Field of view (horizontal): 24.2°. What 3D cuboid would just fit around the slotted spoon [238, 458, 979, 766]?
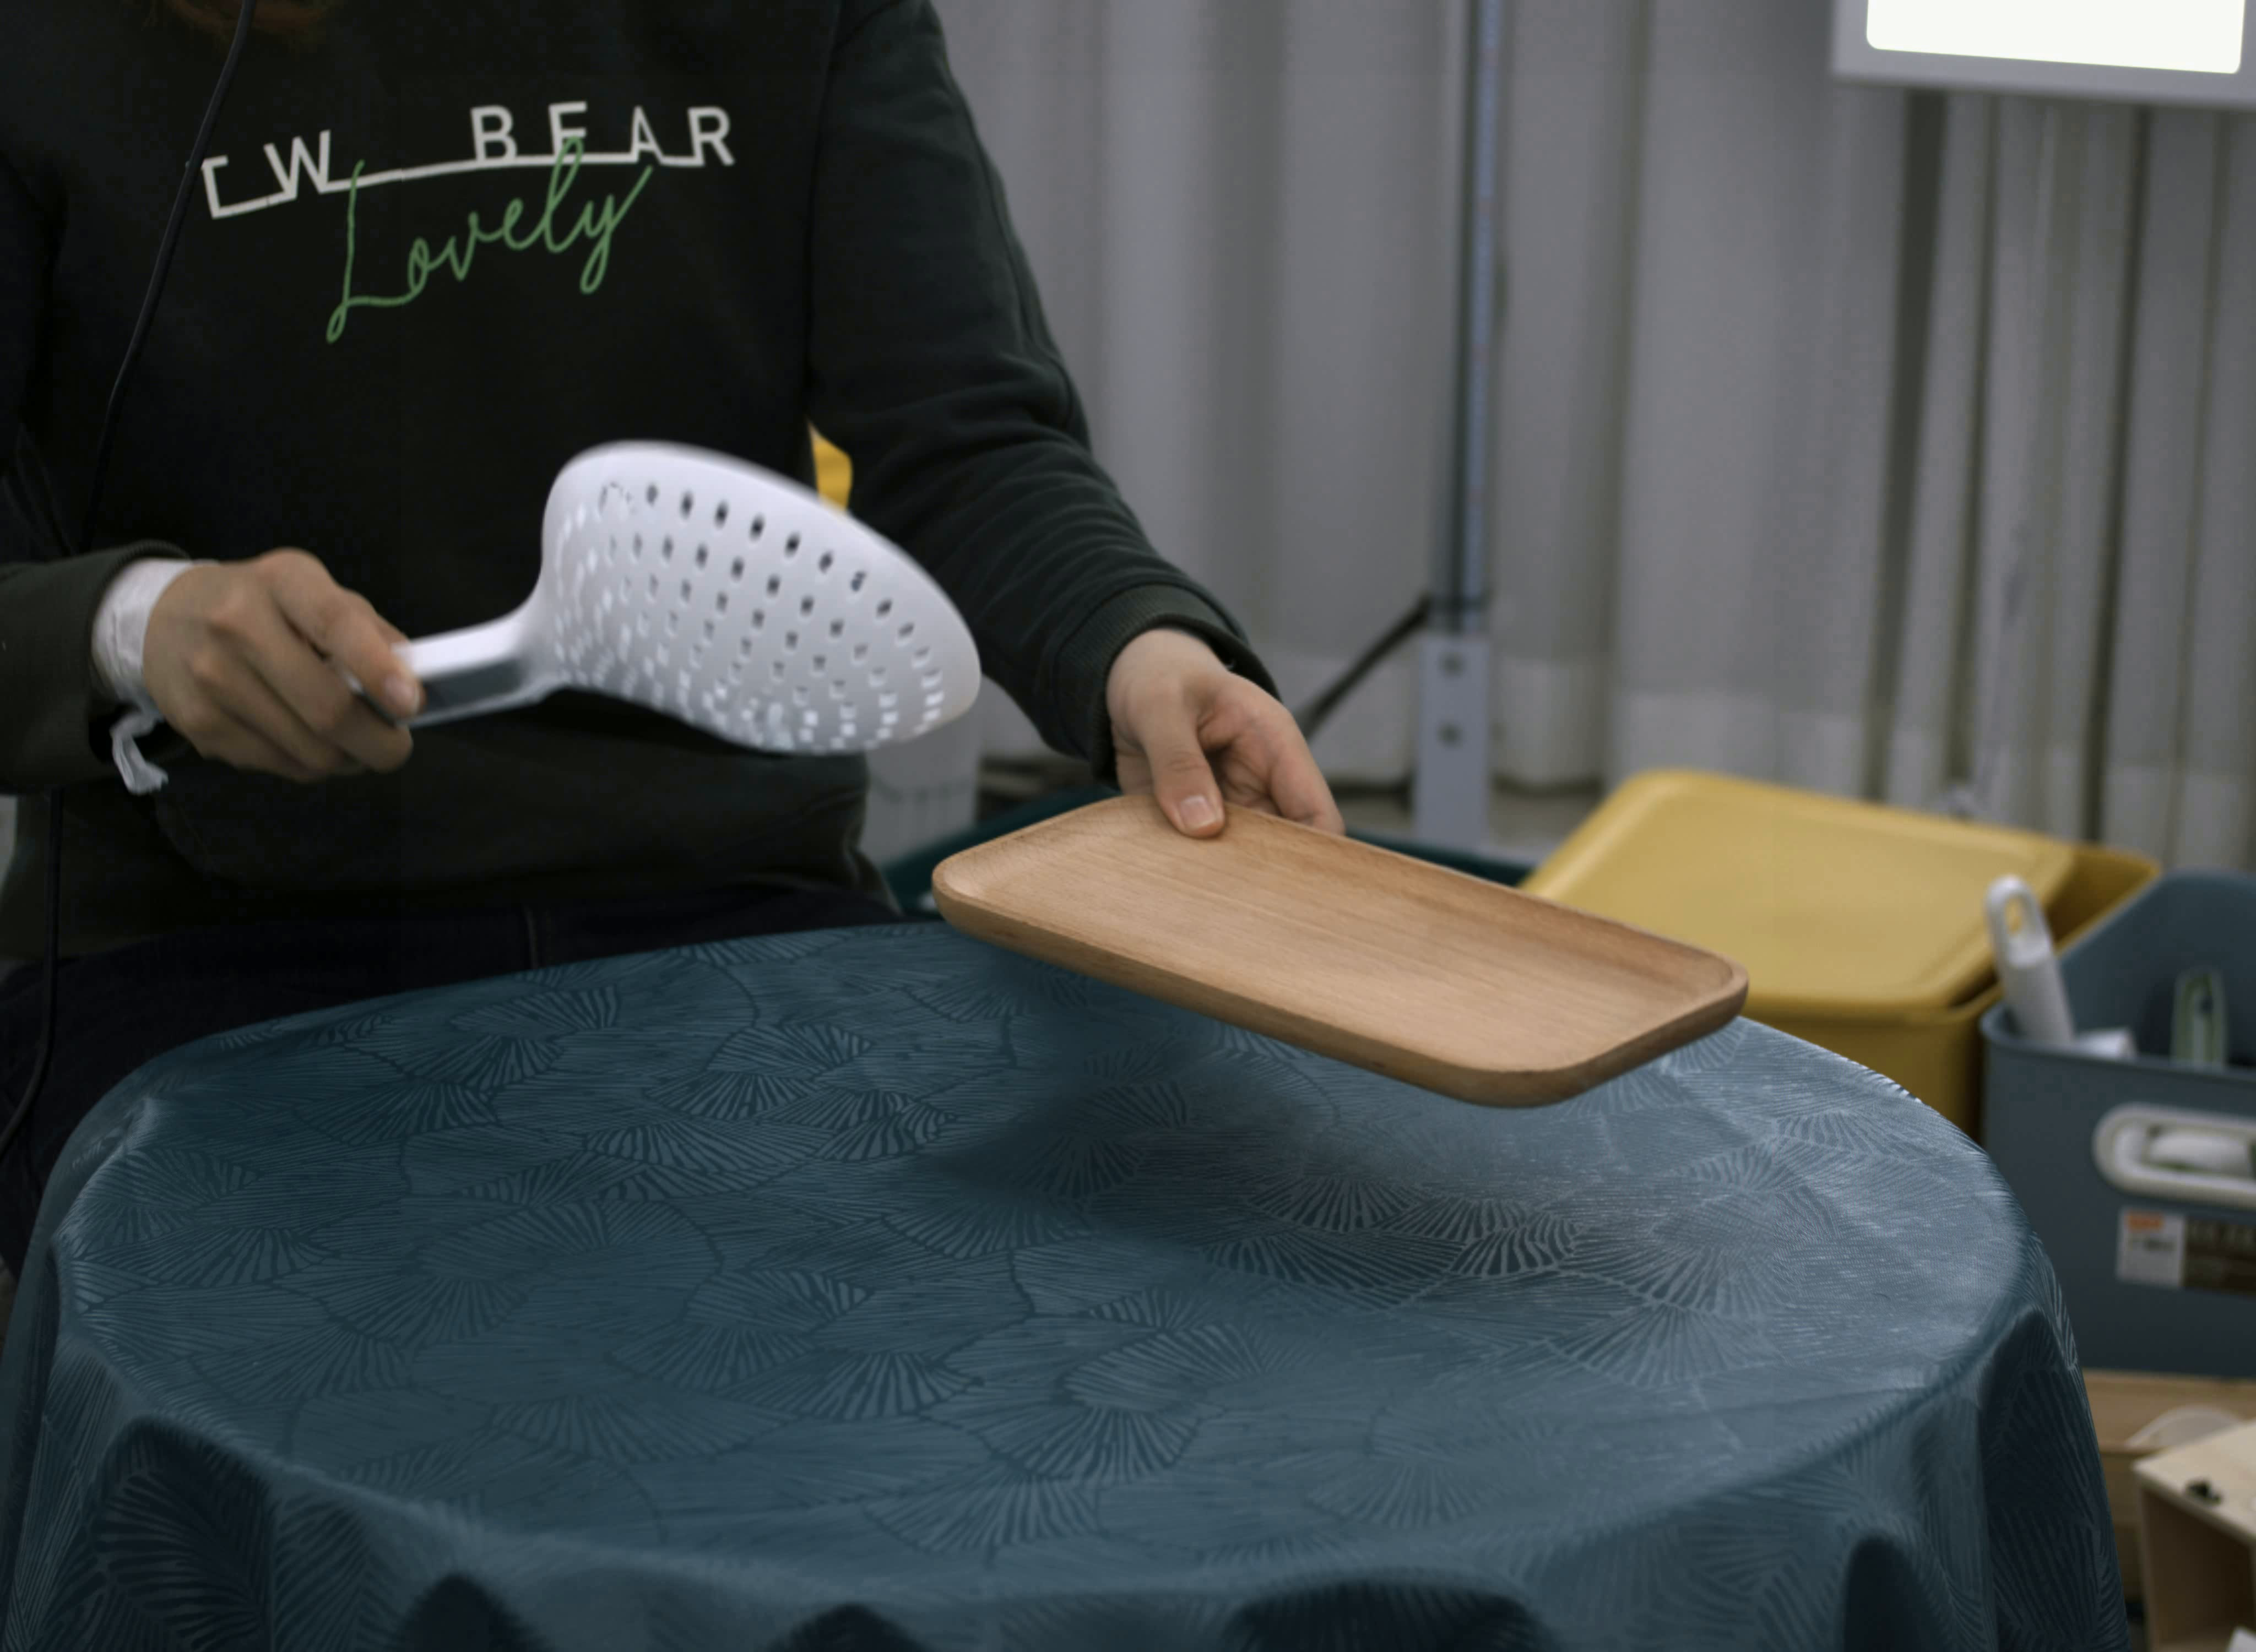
[{"bbox_3d":[-0.175,-0.048,1.594,0.137,0.045,0.346,39,-23,-29],"label":"slotted spoon"}]

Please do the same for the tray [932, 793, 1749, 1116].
[{"bbox_3d":[0.062,0.037,1.609,0.247,0.023,0.131,17,23,39],"label":"tray"}]
